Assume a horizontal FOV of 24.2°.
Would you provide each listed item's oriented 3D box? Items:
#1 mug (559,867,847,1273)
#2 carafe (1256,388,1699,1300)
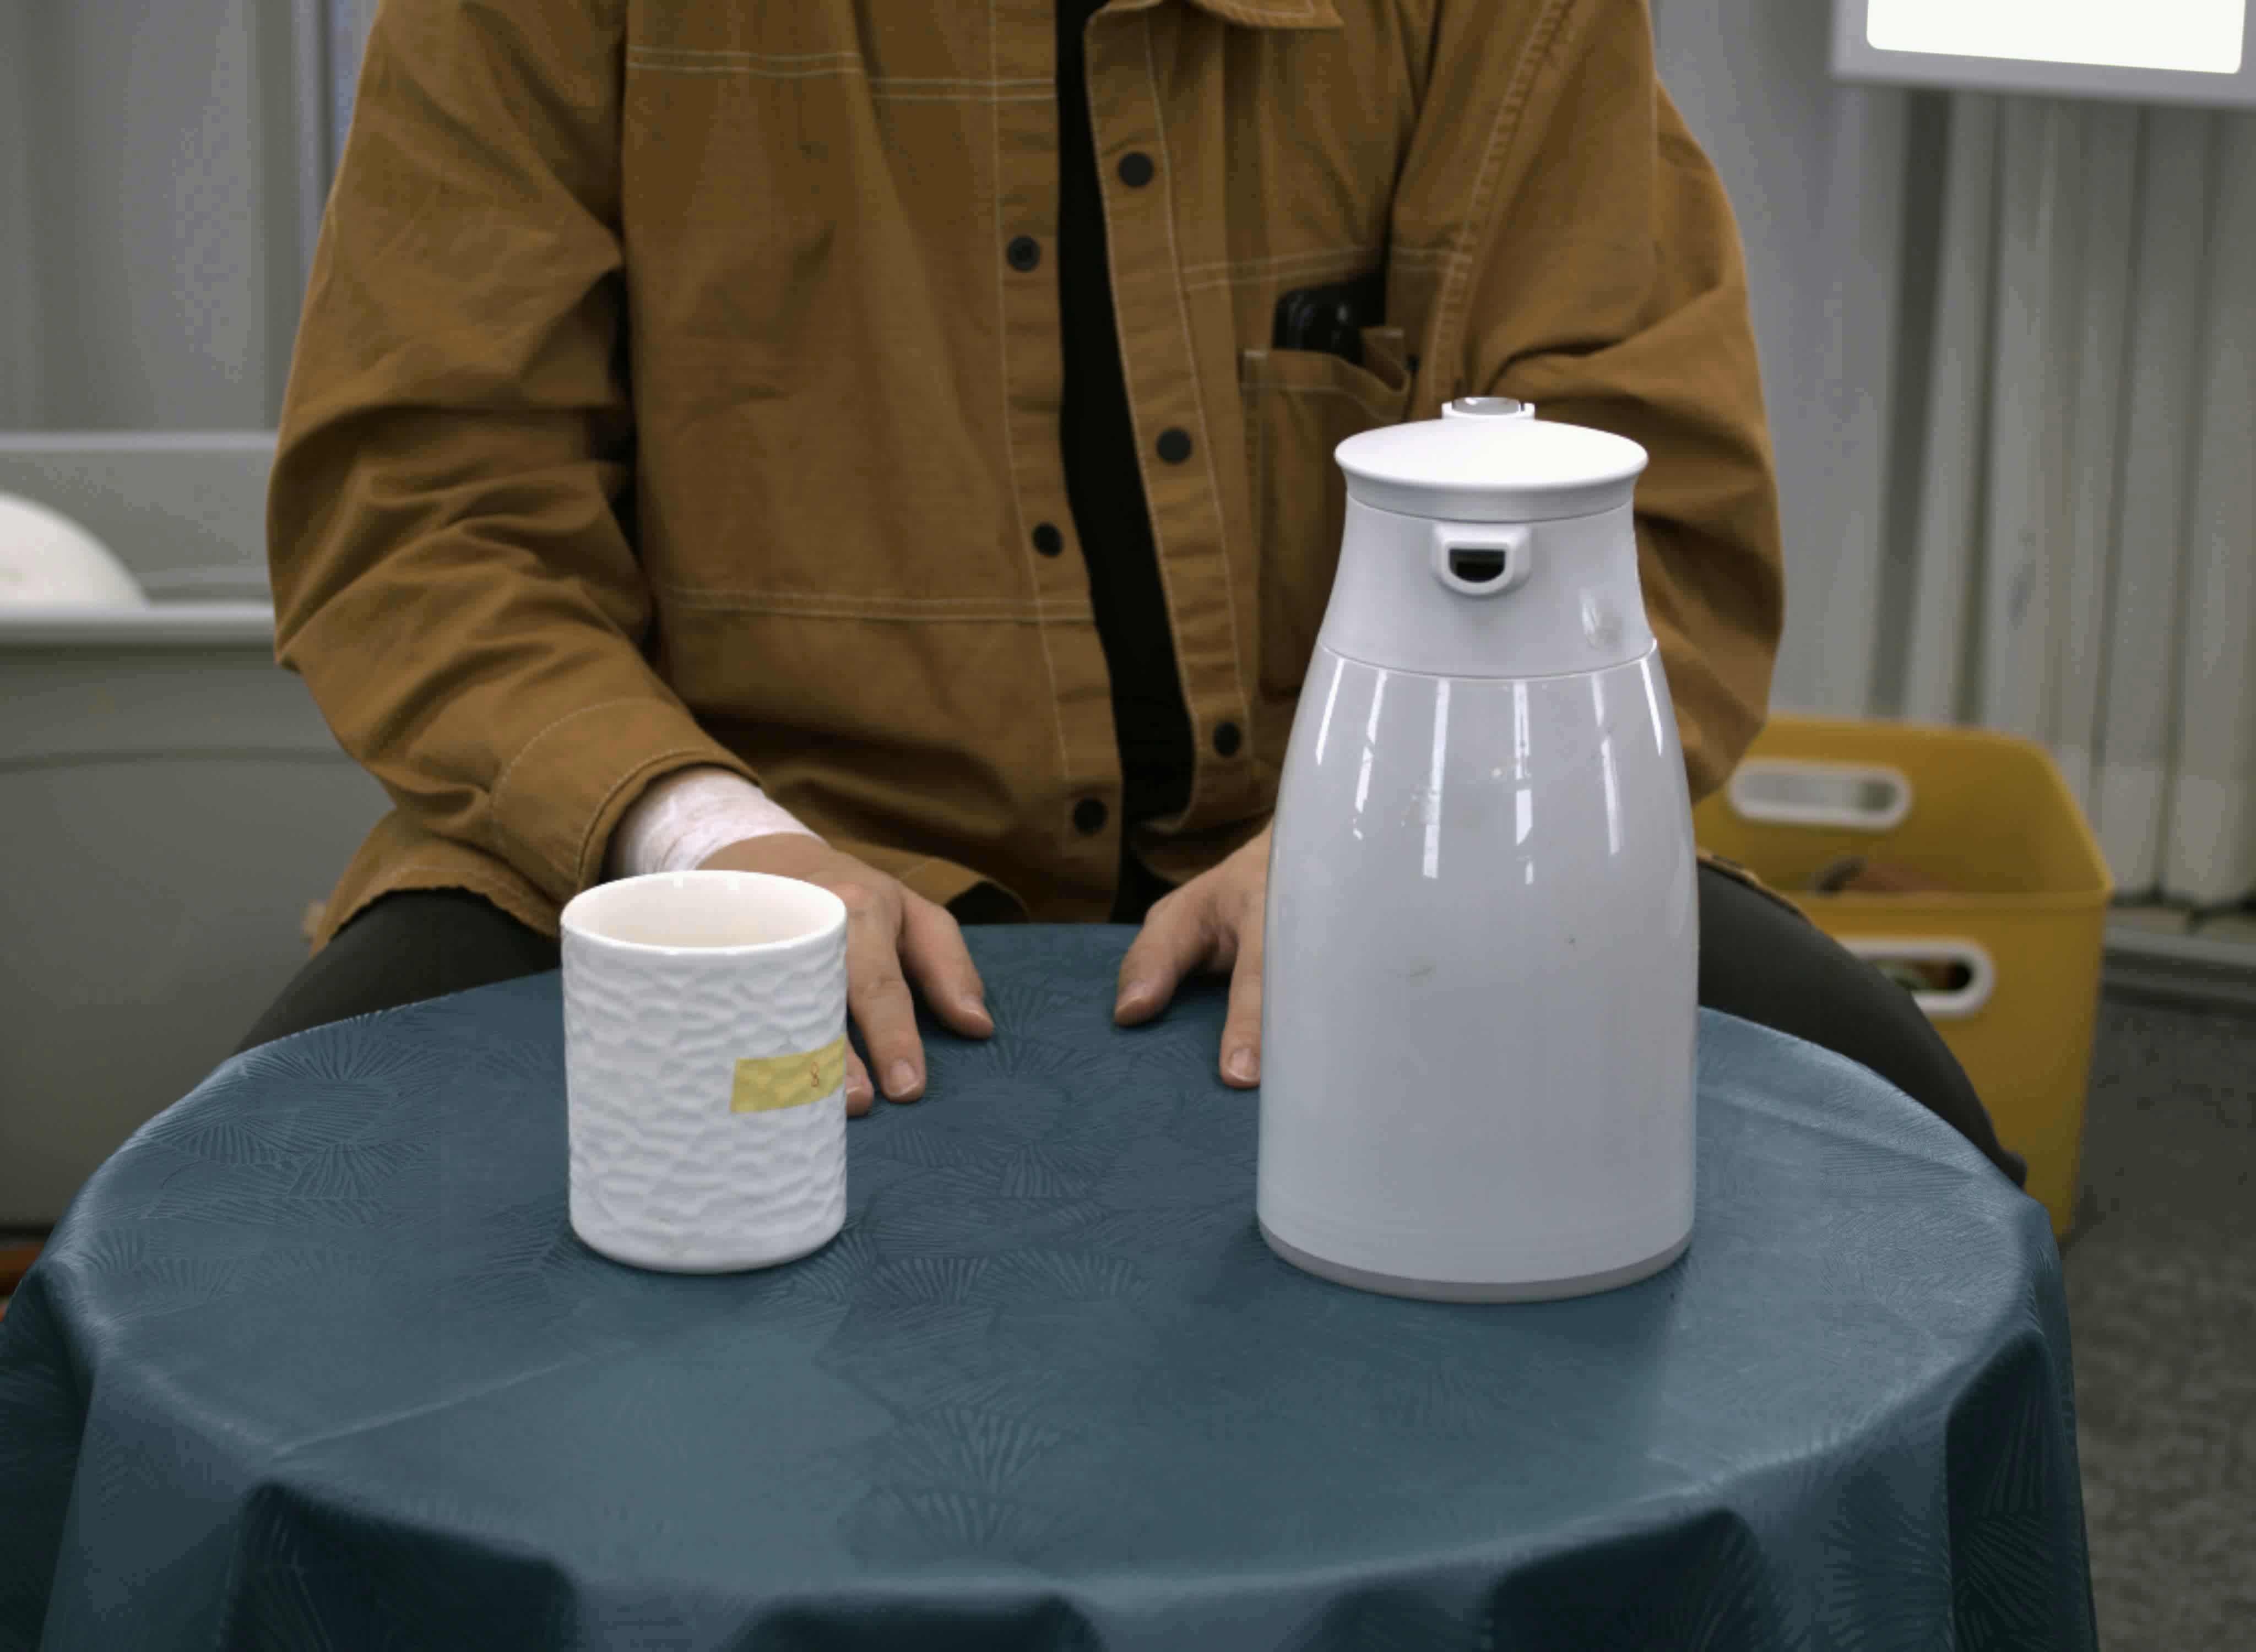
[{"bbox_3d":[-0.133,0.069,1.583,0.085,0.103,0.117,-8,18,-26],"label":"mug"},{"bbox_3d":[0.105,-0.003,1.575,0.132,0.250,0.167,1,16,5],"label":"carafe"}]
